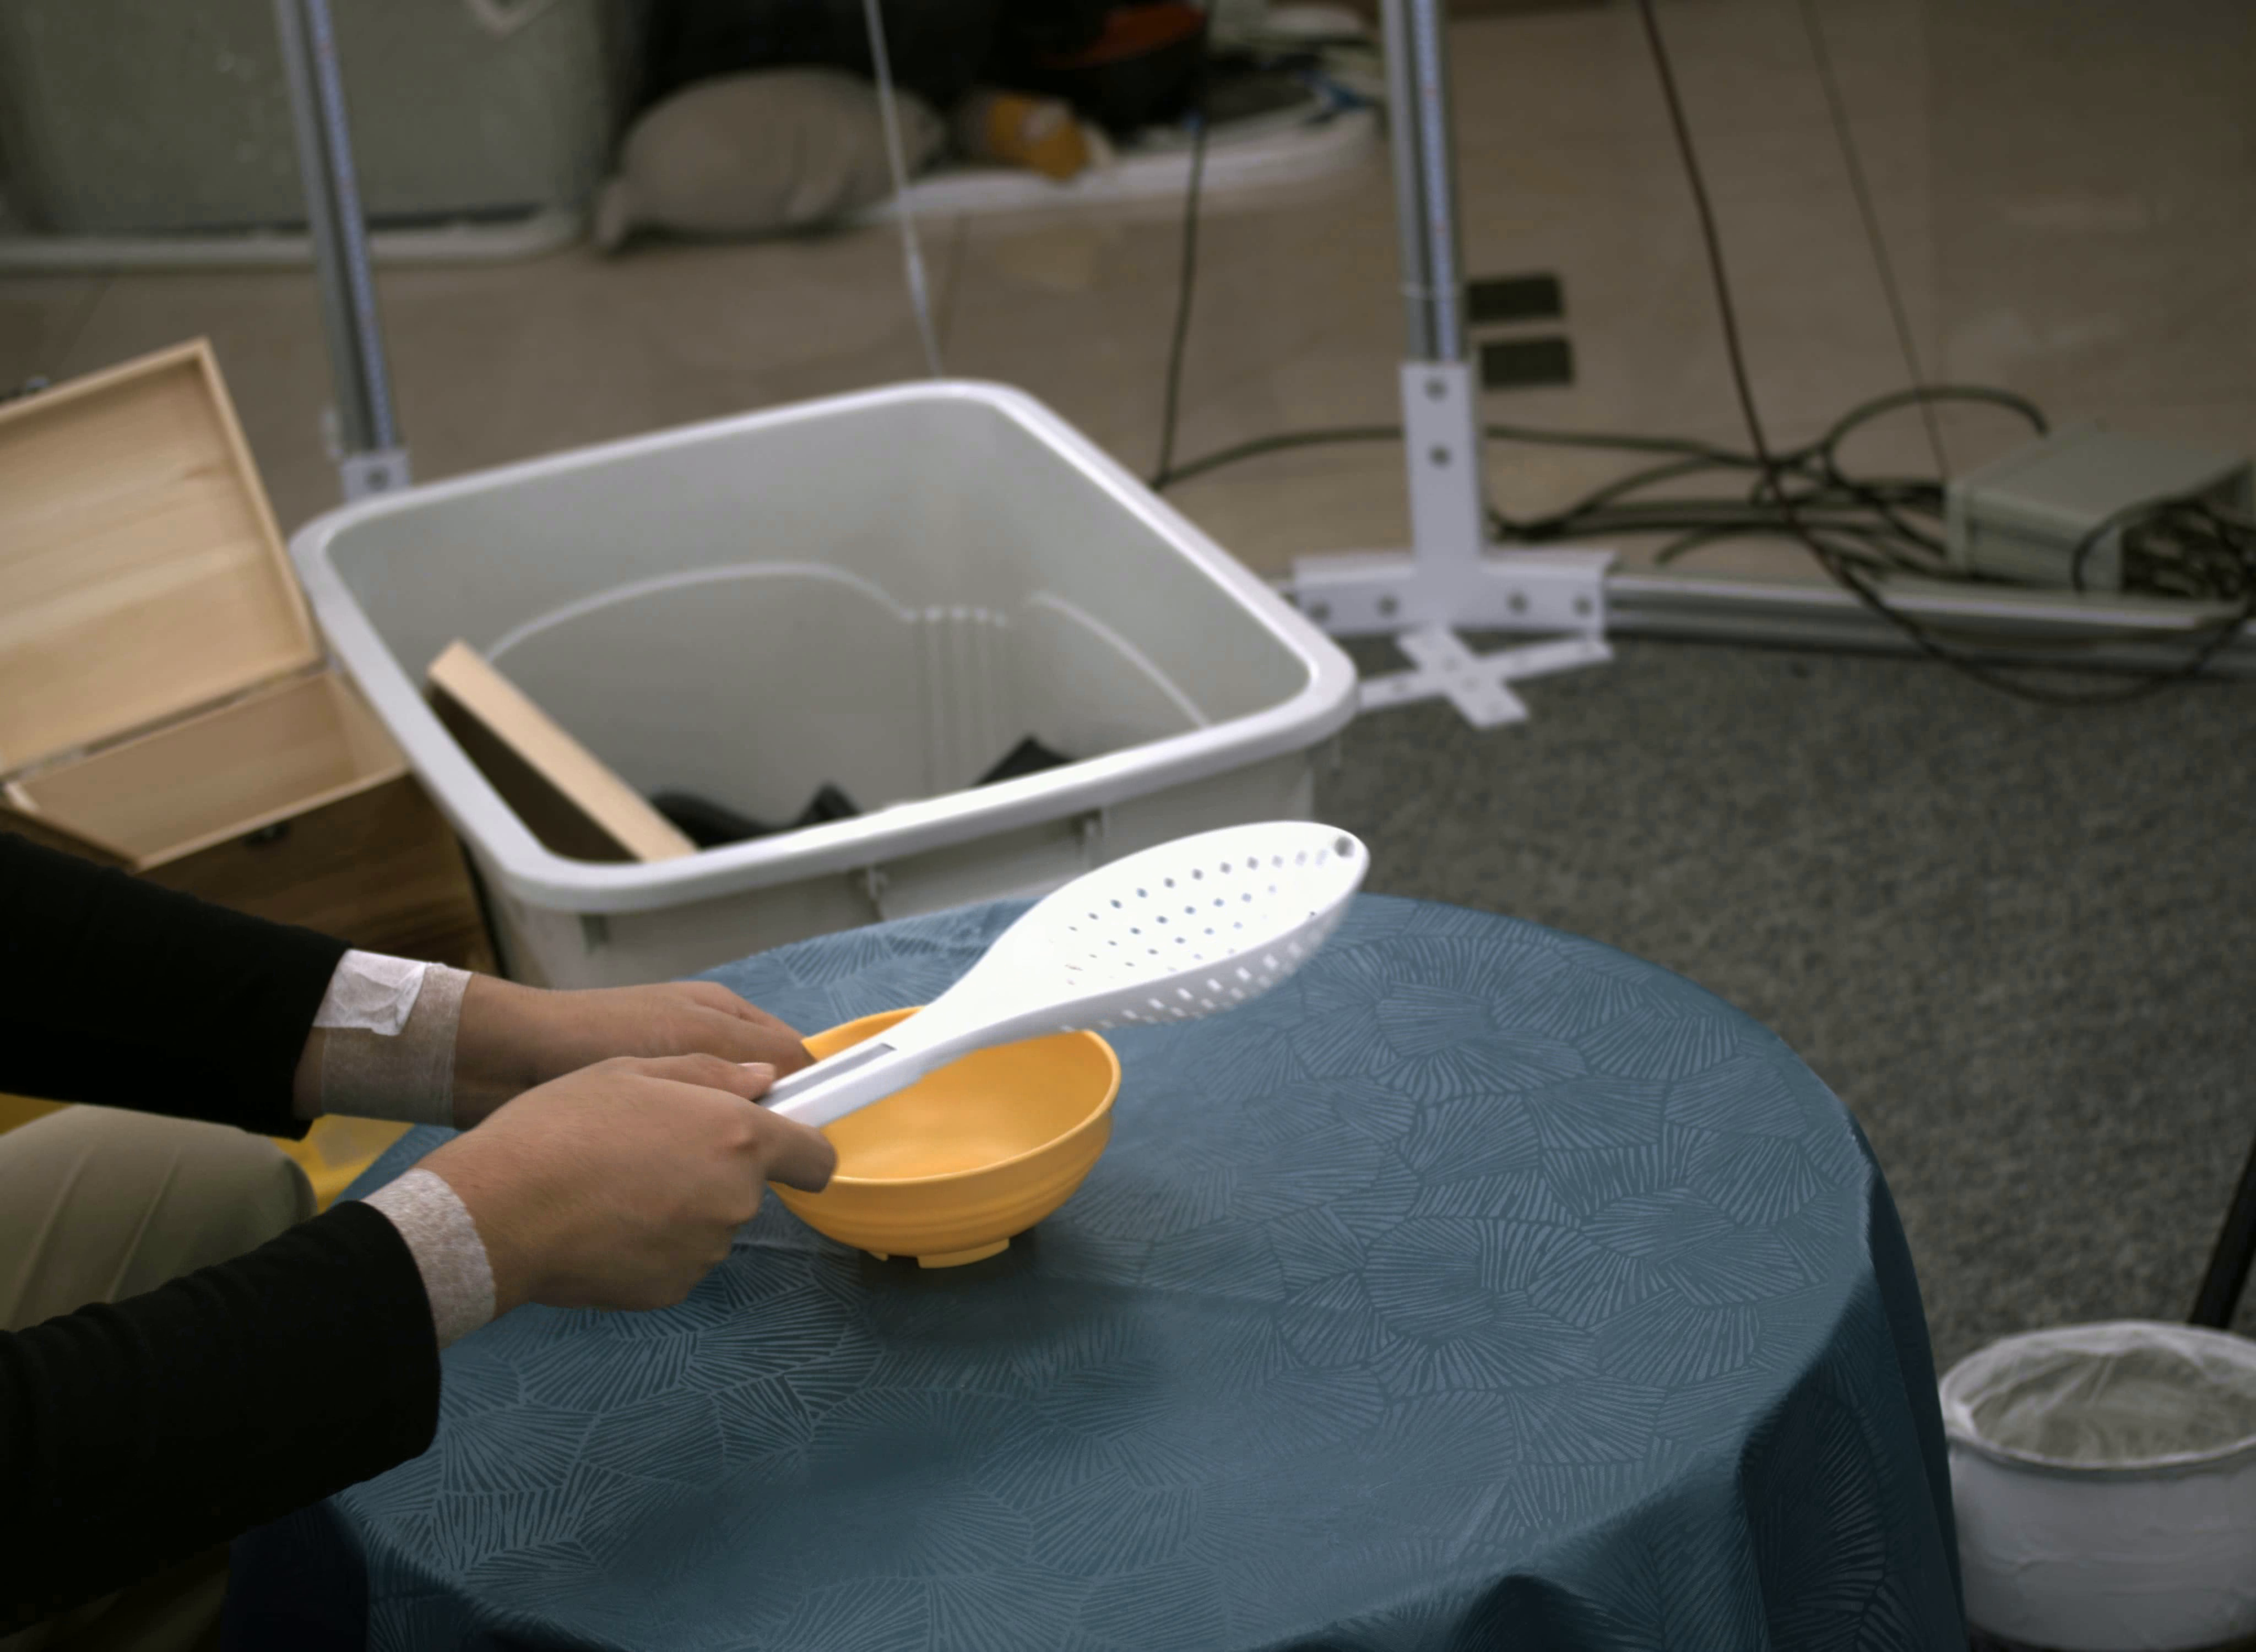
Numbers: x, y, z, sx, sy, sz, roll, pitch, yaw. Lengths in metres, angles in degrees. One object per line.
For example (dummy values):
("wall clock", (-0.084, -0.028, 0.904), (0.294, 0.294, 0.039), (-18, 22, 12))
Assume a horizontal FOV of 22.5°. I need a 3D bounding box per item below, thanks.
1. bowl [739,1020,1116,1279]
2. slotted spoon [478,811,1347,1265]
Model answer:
("bowl", (-0.072, 0.129, 2.128), (0.145, 0.061, 0.143), (-8, 23, 4))
("slotted spoon", (-0.073, 0.074, 2.010), (0.348, 0.046, 0.135), (-21, 17, -24))
